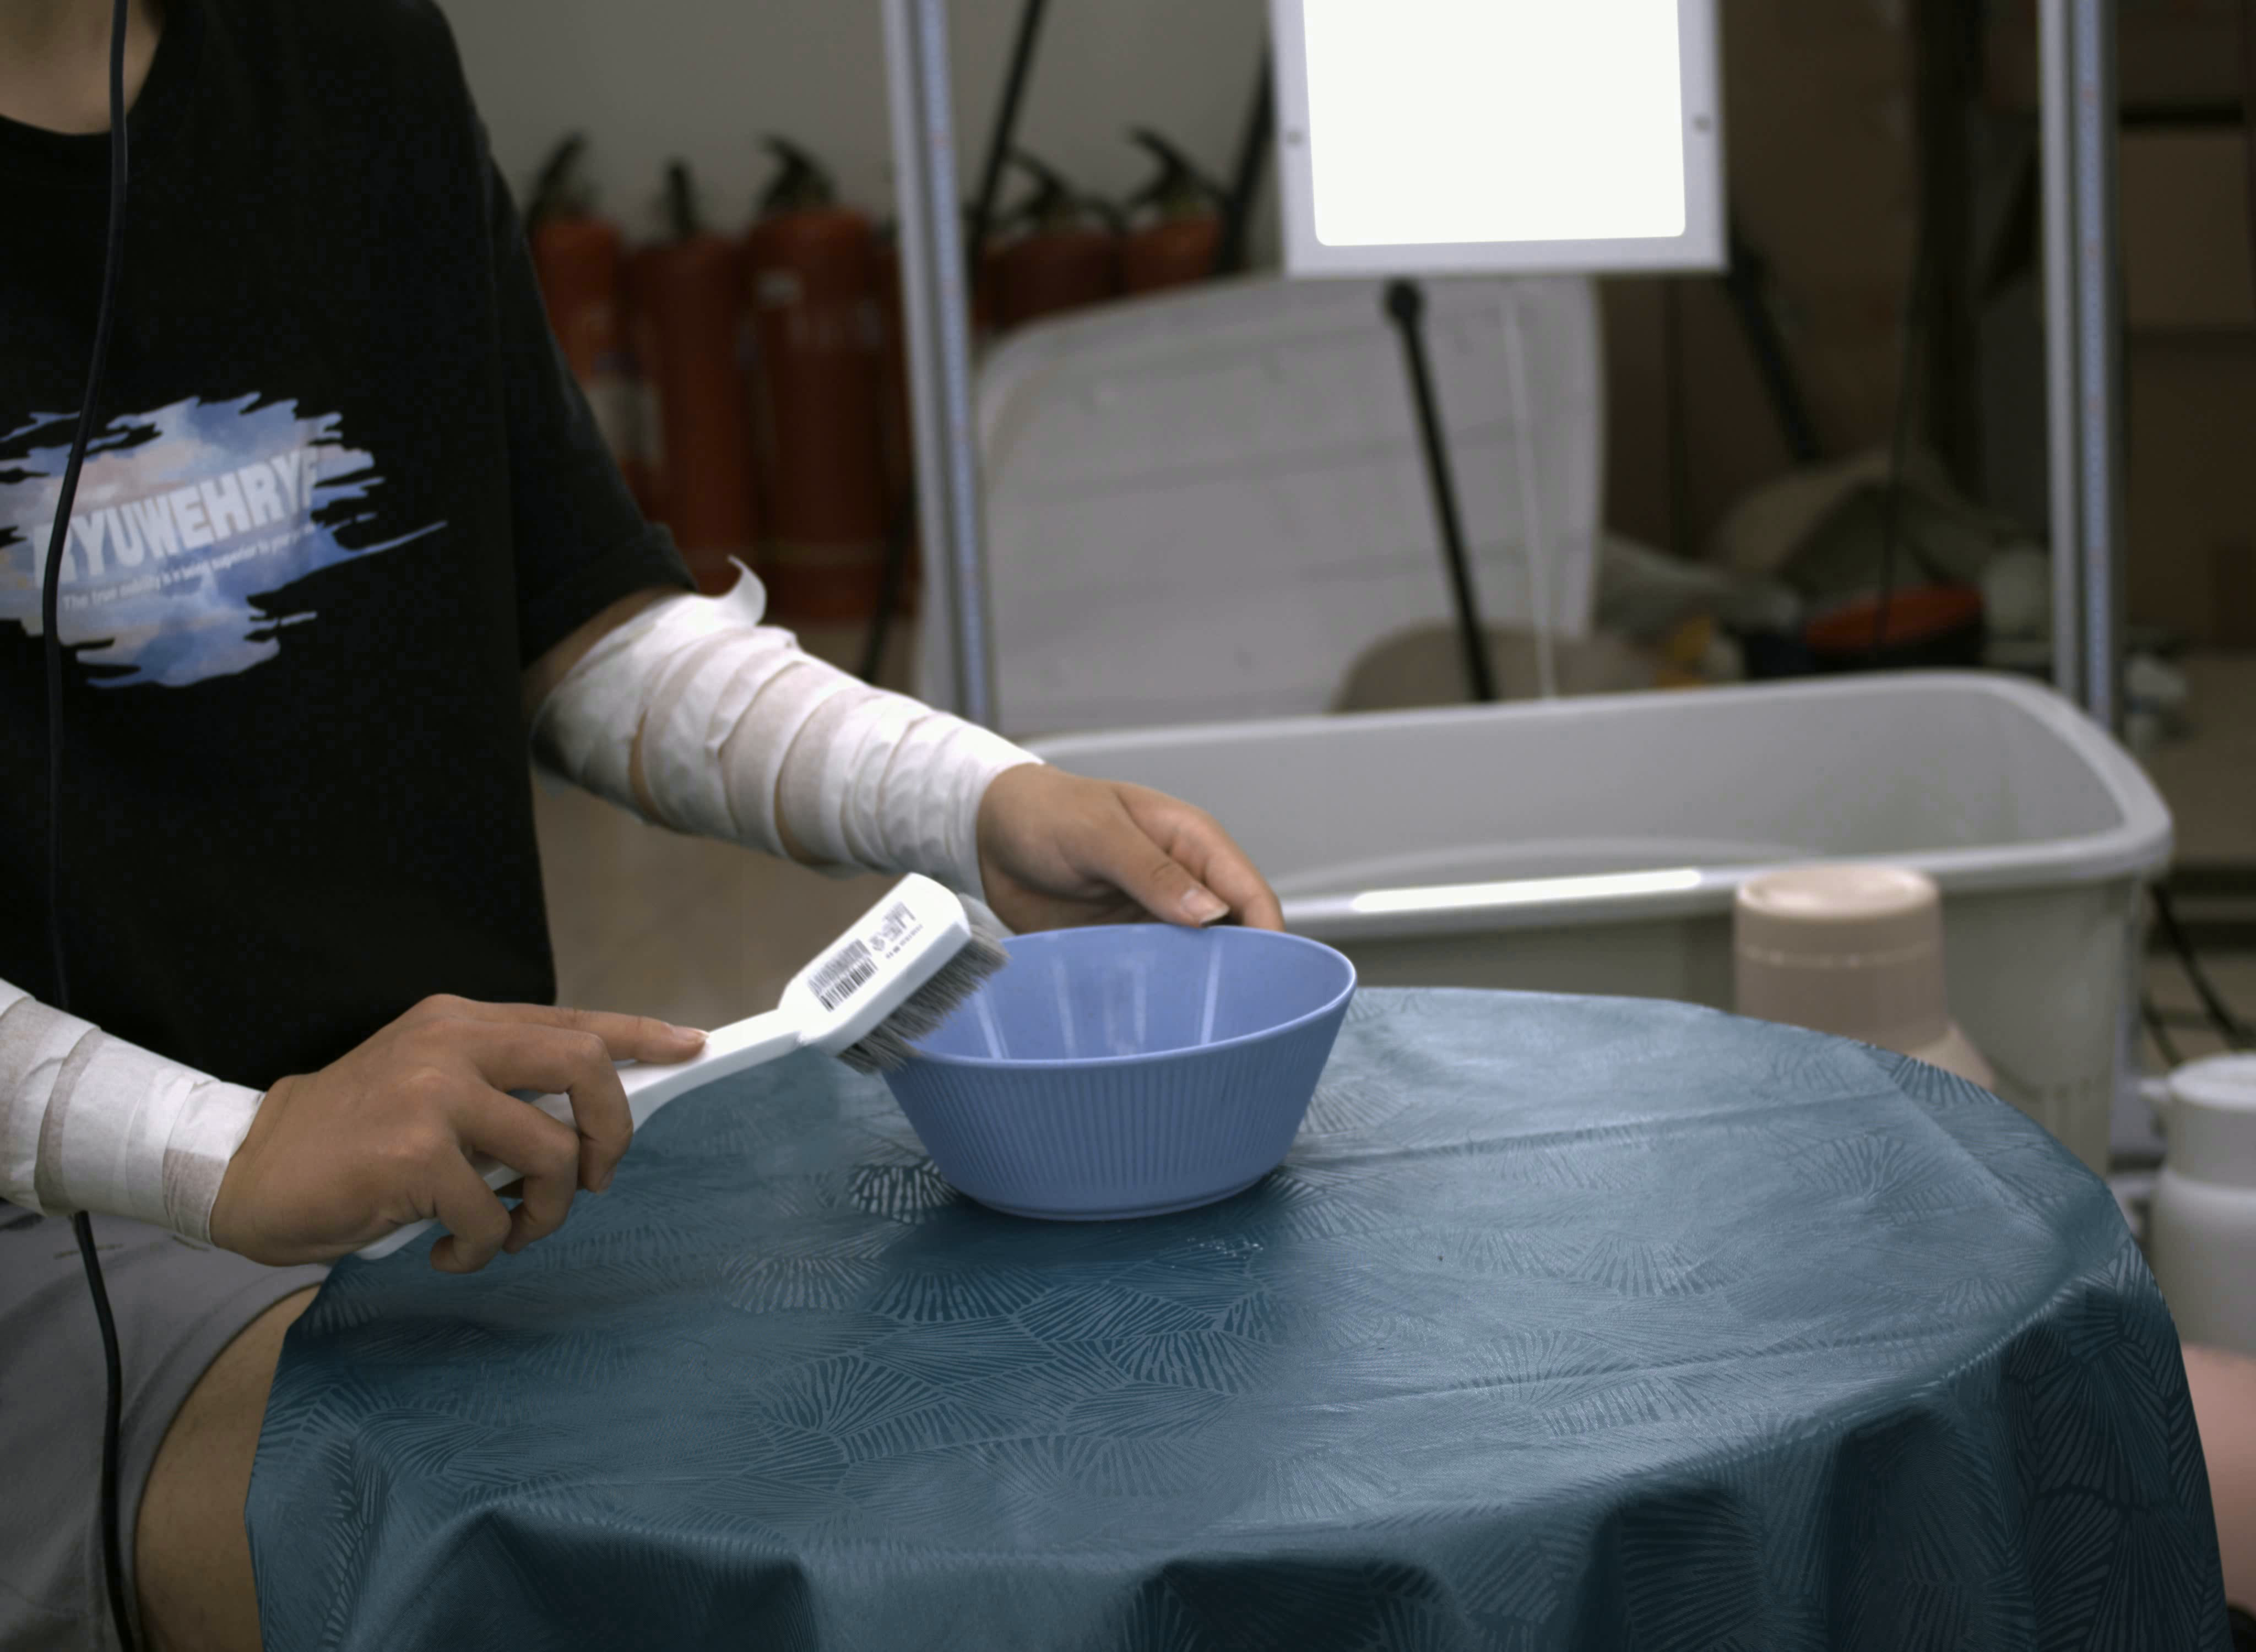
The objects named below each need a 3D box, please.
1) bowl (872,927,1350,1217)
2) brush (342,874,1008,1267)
[{"bbox_3d":[-0.007,0.087,1.911,0.175,0.070,0.176,-5,13,0],"label":"bowl"},{"bbox_3d":[-0.148,0.092,1.827,0.241,0.050,0.035,-31,43,-13],"label":"brush"}]
